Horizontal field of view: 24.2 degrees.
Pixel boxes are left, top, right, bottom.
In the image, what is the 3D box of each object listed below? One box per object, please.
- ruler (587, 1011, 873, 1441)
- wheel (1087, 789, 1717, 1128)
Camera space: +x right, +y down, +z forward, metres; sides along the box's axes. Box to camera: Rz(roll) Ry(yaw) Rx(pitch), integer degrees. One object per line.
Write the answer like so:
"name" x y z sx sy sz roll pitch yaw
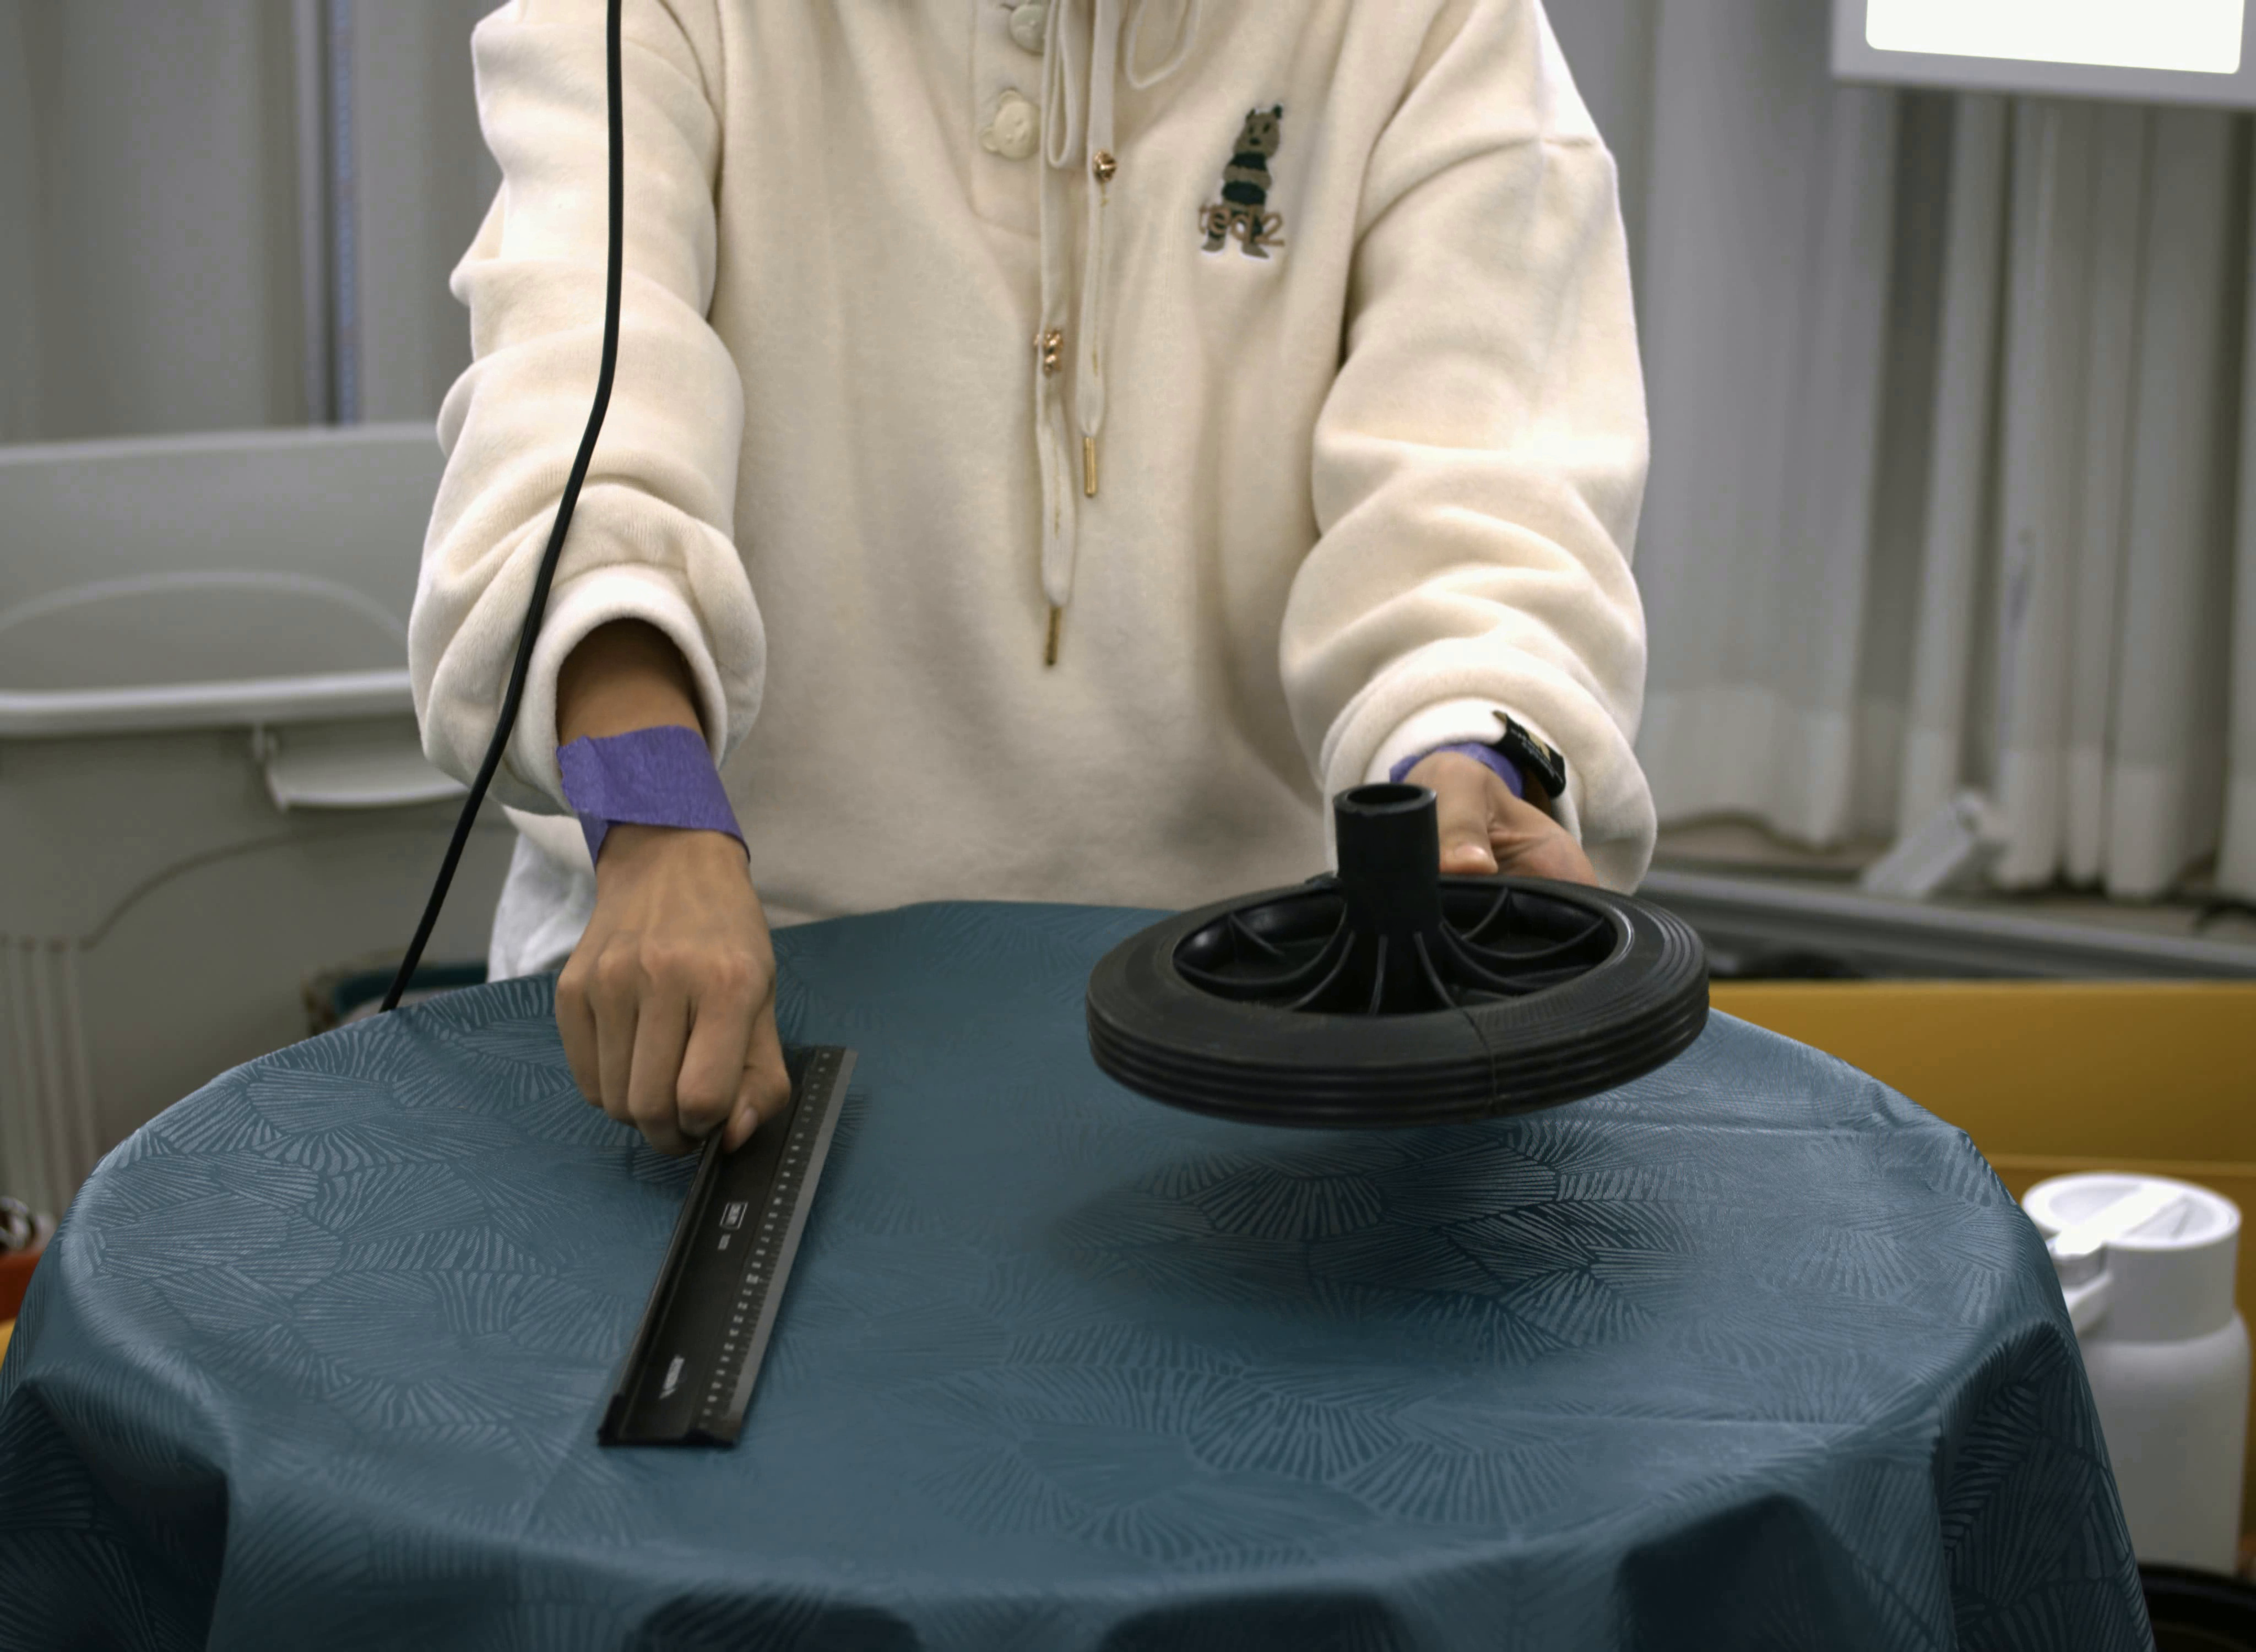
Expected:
"ruler" -0.115 0.112 1.560 0.039 0.017 0.311 2 18 5
"wheel" 0.081 0.031 1.579 0.188 0.080 0.187 3 18 21
